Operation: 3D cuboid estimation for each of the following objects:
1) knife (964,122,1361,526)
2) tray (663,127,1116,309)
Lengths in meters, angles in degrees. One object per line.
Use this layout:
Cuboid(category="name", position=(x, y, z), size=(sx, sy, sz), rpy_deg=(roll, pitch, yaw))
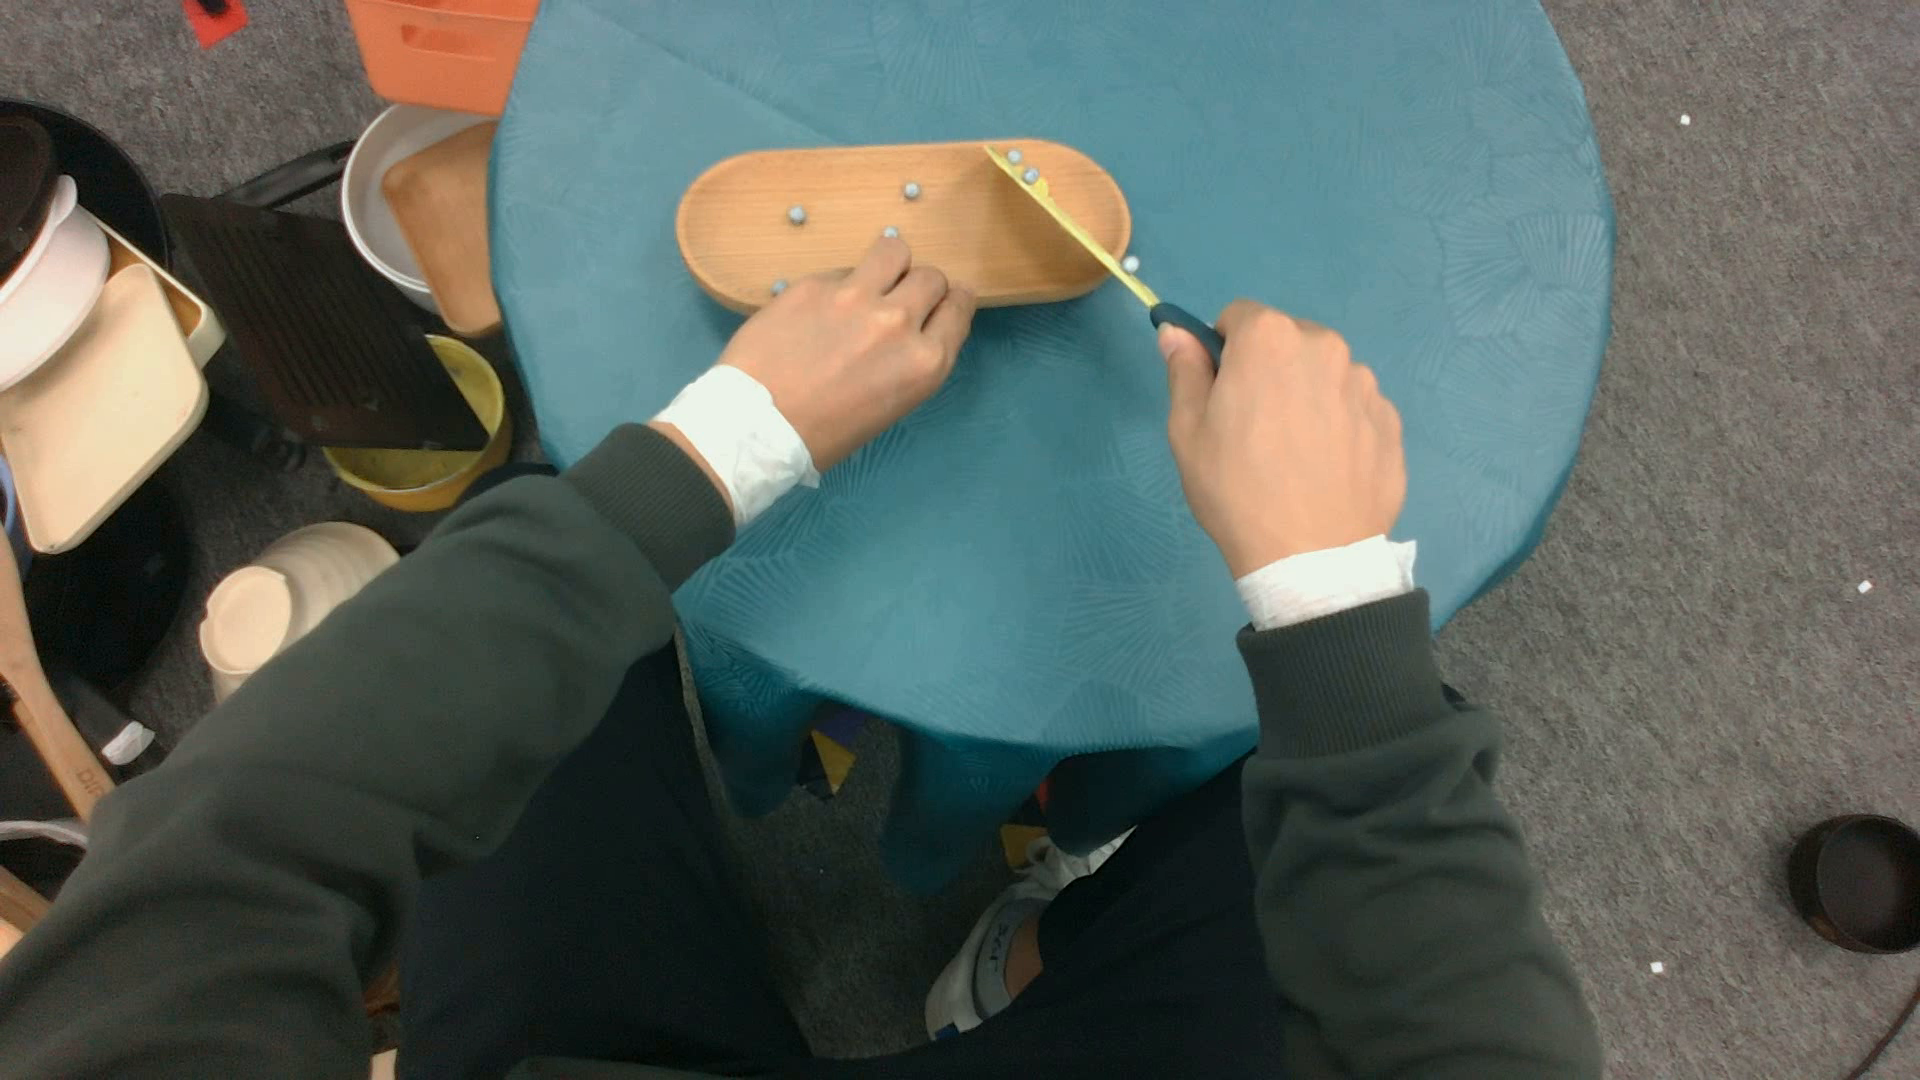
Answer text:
Cuboid(category="knife", position=(0.086, -0.111, 0.641), size=(0.027, 0.081, 0.290), rpy_deg=(-48, 61, 19))
Cuboid(category="tray", position=(-0.033, -0.165, 0.699), size=(0.231, 0.020, 0.102), rpy_deg=(-6, 64, -14))
